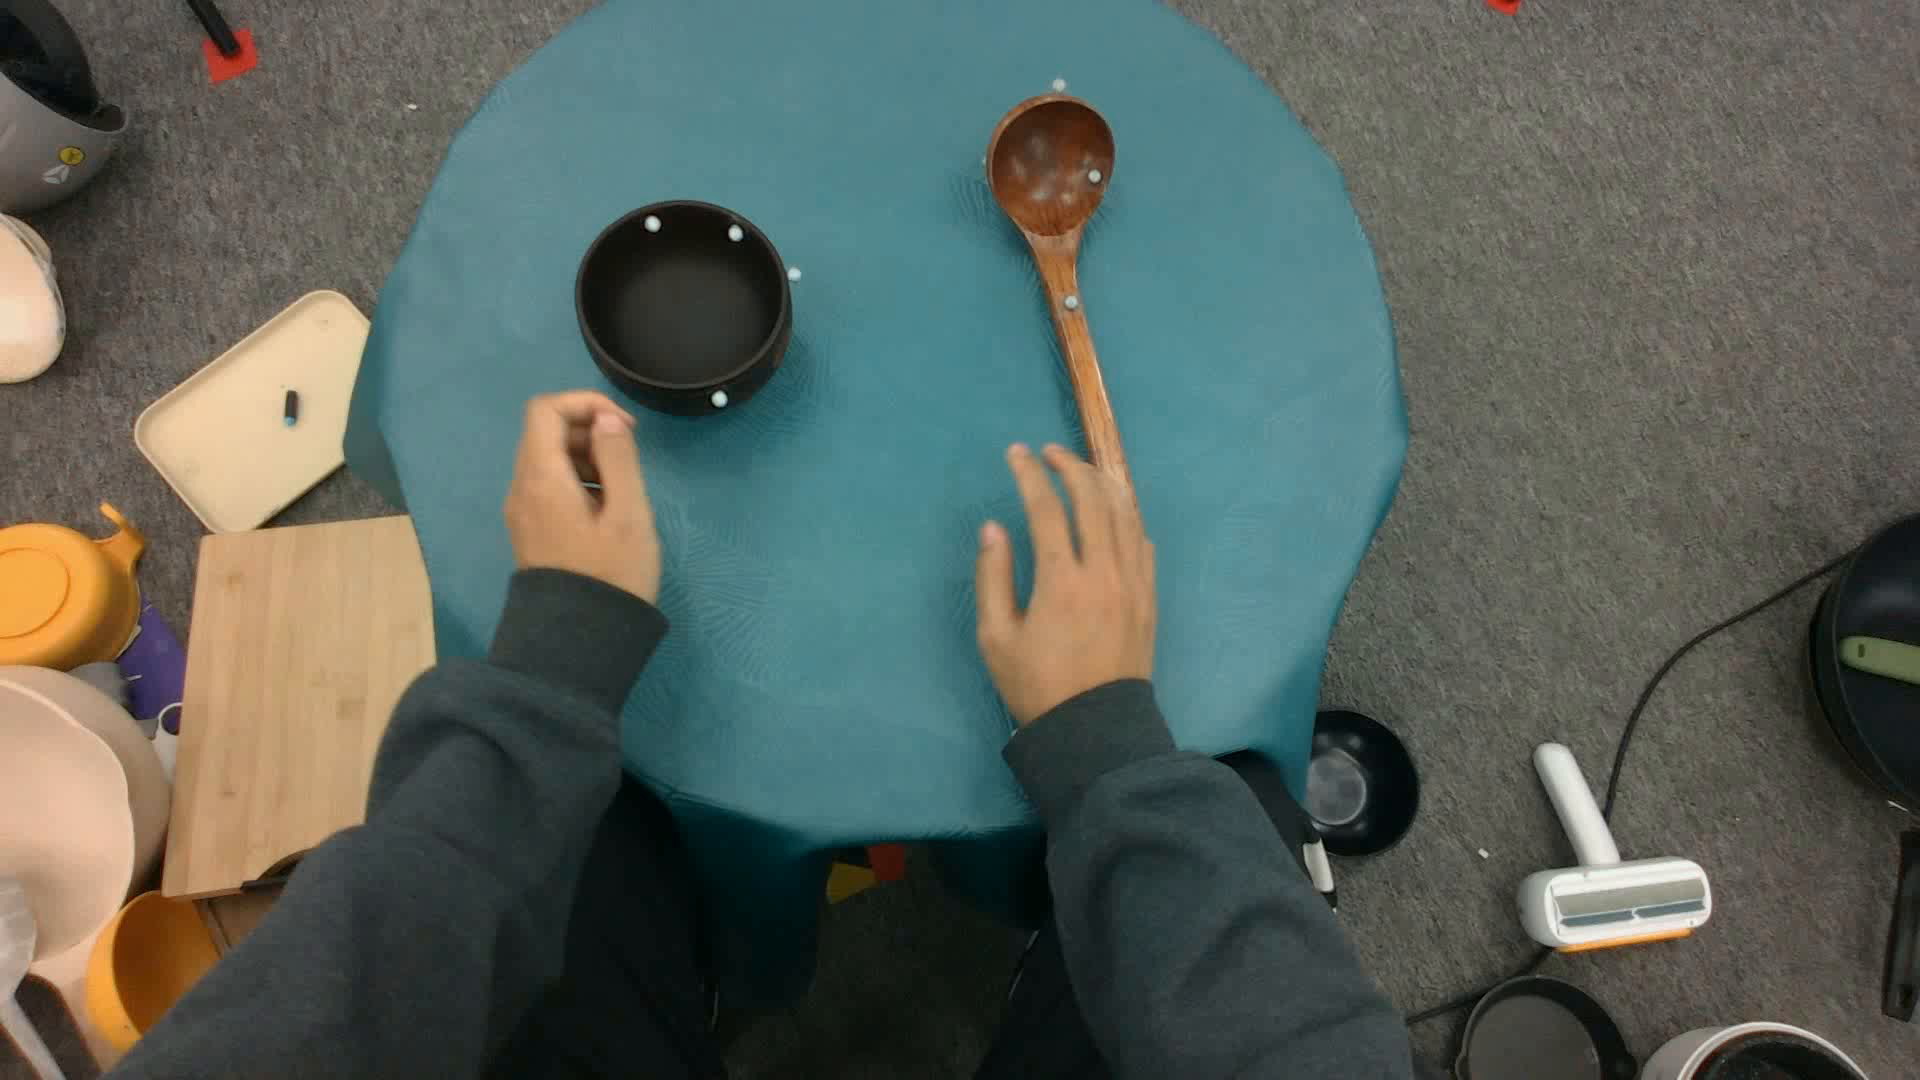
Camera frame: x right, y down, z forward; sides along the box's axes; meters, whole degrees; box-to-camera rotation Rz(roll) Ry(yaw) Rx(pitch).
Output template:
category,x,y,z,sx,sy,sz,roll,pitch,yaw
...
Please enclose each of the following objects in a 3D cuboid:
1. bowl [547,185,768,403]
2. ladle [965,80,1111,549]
category,x,y,z,sx,sy,sz,roll,pitch,yaw
bowl,-0.166,-0.130,0.769,0.118,0.069,0.118,2,71,-5
ladle,0.061,-0.135,0.792,0.082,0.076,0.274,-7,71,-13
